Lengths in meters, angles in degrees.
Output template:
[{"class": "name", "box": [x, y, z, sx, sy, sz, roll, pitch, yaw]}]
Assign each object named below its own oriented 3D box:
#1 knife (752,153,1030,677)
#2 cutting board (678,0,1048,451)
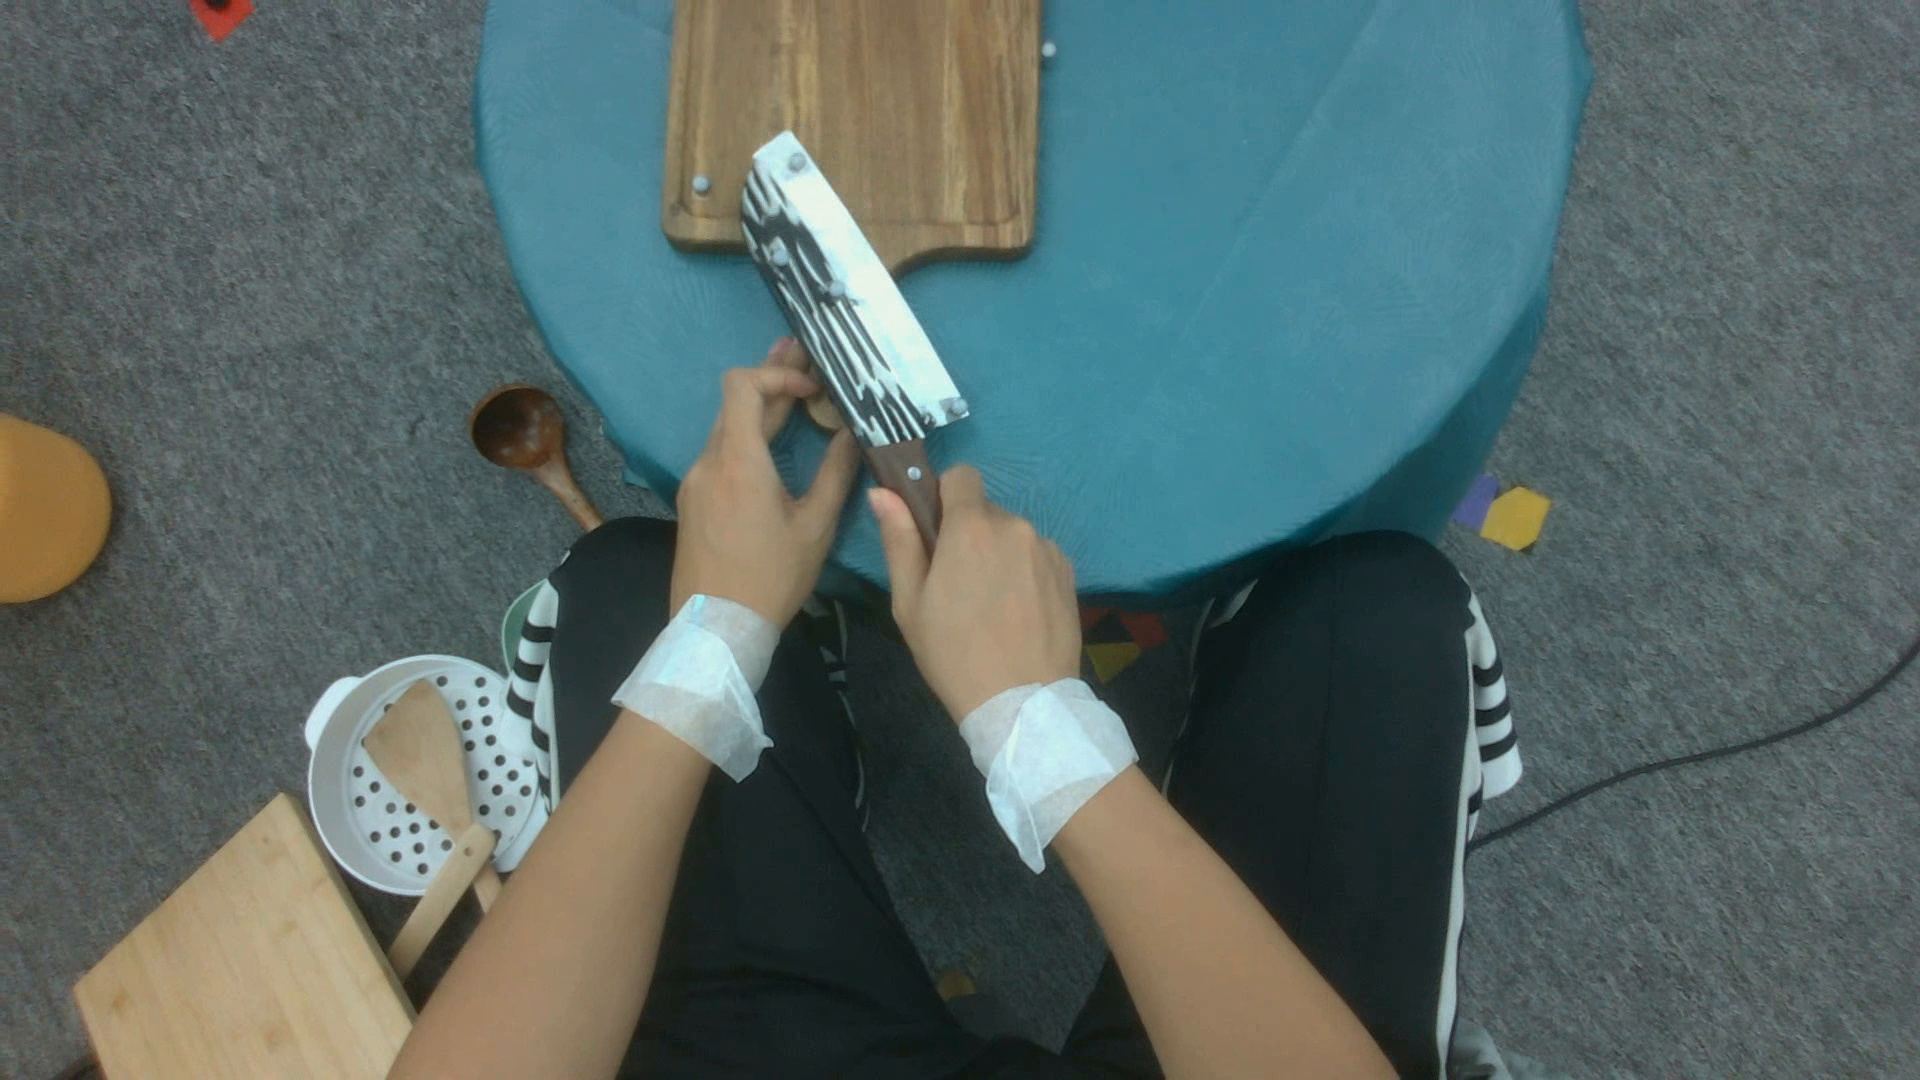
[{"class": "knife", "box": [-0.030, -0.071, 0.700, 0.068, 0.024, 0.300, -24, 79, -31]}, {"class": "cutting board", "box": [-0.053, -0.222, 0.755, 0.201, 0.023, 0.352, 1, 79, 2]}]
